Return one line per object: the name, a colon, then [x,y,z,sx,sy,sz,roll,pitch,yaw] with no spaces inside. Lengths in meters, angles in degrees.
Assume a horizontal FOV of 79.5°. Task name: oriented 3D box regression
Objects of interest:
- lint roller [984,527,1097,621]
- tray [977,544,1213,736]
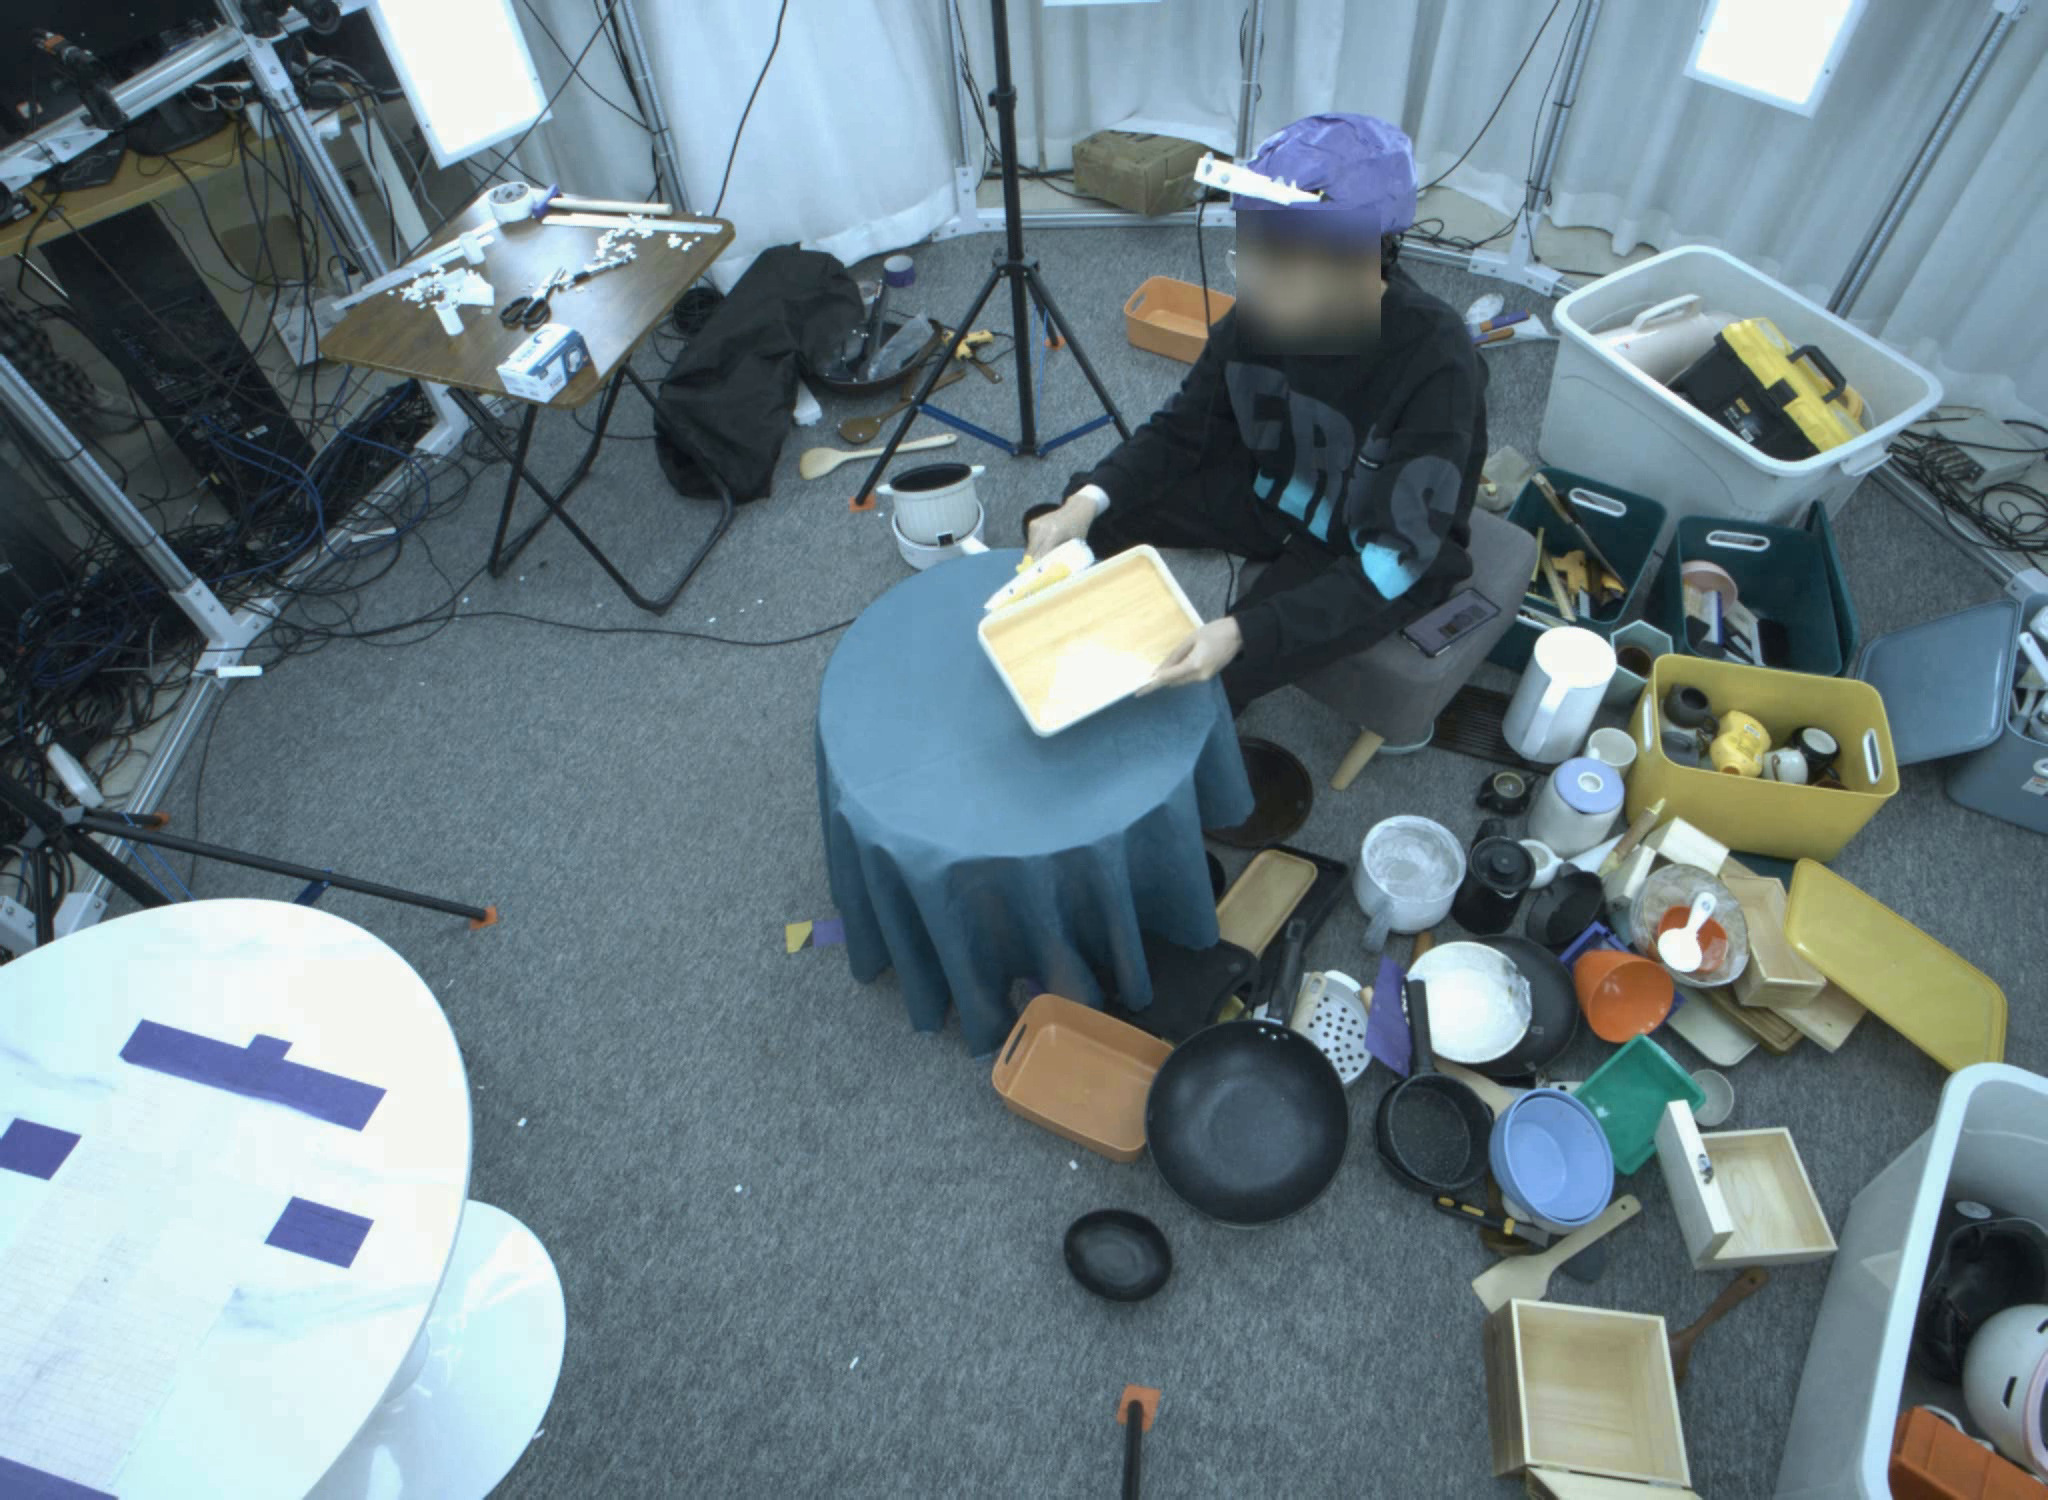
lint roller: [0.028,-0.283,1.862,0.075,0.191,0.192,46,27,-12]
tray: [0.102,-0.160,1.747,0.303,0.027,0.190,-27,80,-18]
